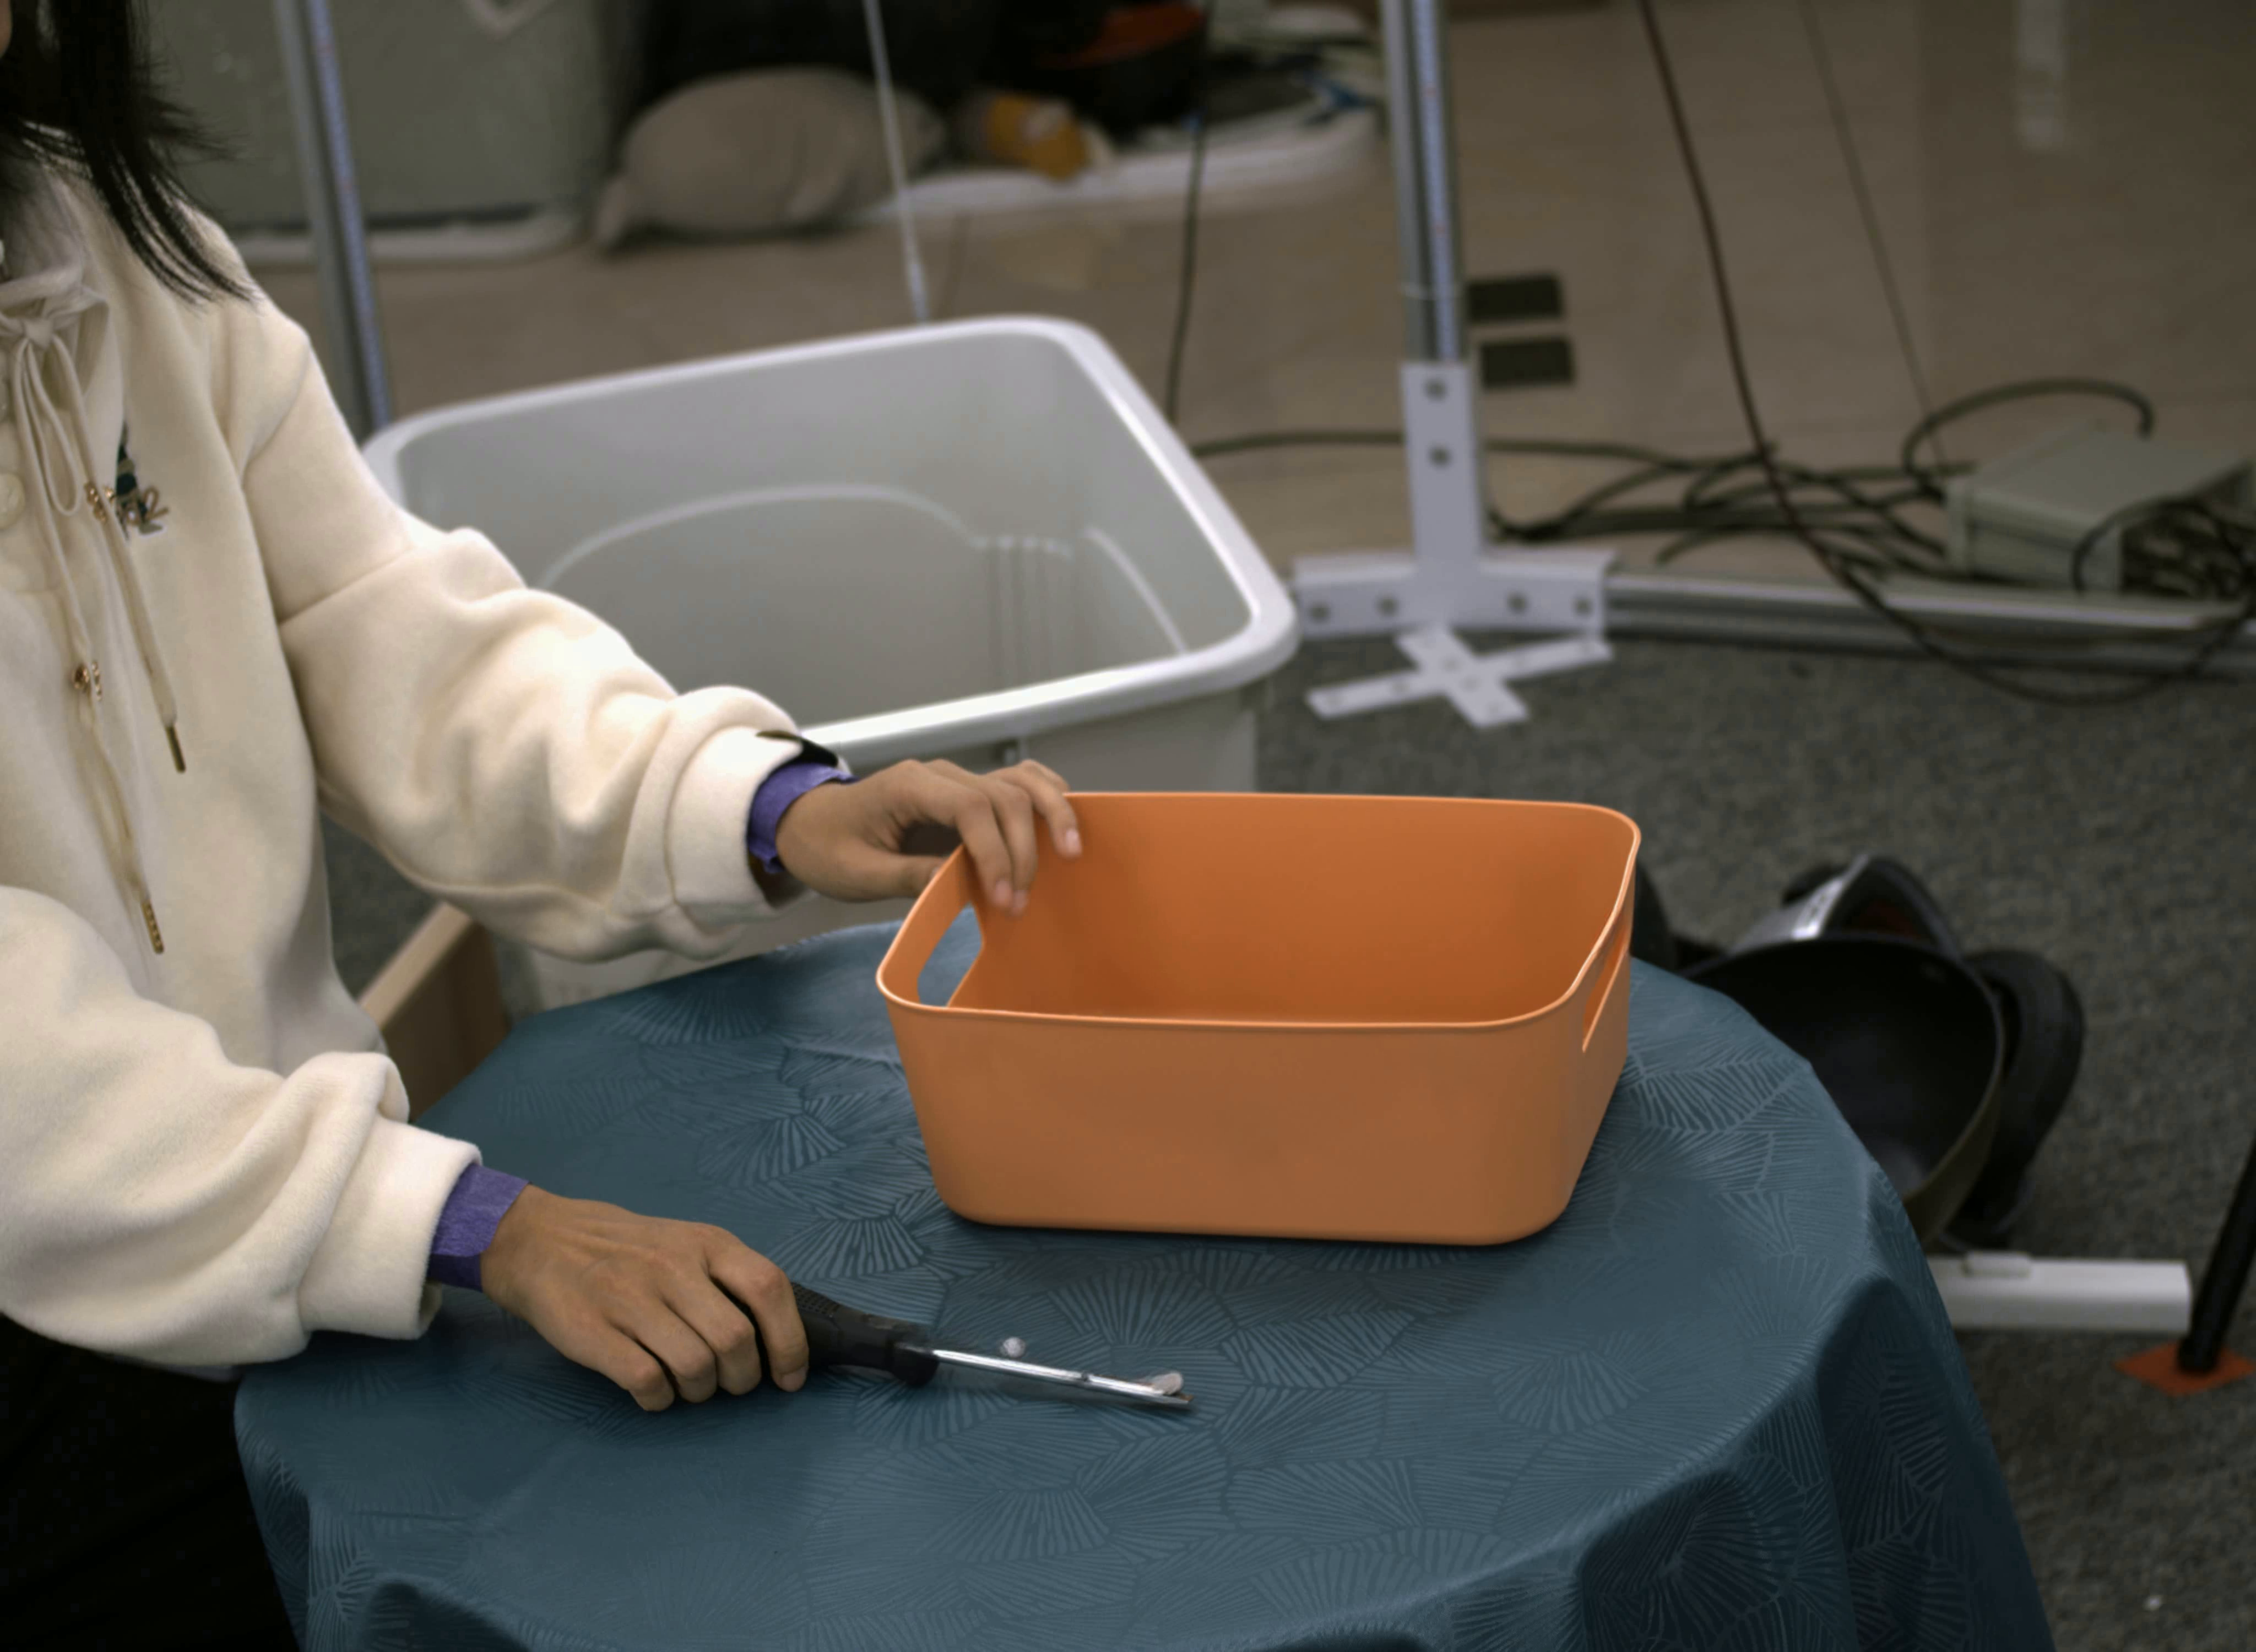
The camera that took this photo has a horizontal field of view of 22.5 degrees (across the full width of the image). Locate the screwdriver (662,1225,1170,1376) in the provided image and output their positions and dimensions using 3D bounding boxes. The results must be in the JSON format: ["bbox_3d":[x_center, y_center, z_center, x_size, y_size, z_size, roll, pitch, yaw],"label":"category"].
[{"bbox_3d":[-0.076,0.174,2.037,0.197,0.032,0.031,12,29,16],"label":"screwdriver"}]

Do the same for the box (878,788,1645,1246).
[{"bbox_3d":[0.057,0.072,2.153,0.272,0.104,0.196,2,27,16],"label":"box"}]
